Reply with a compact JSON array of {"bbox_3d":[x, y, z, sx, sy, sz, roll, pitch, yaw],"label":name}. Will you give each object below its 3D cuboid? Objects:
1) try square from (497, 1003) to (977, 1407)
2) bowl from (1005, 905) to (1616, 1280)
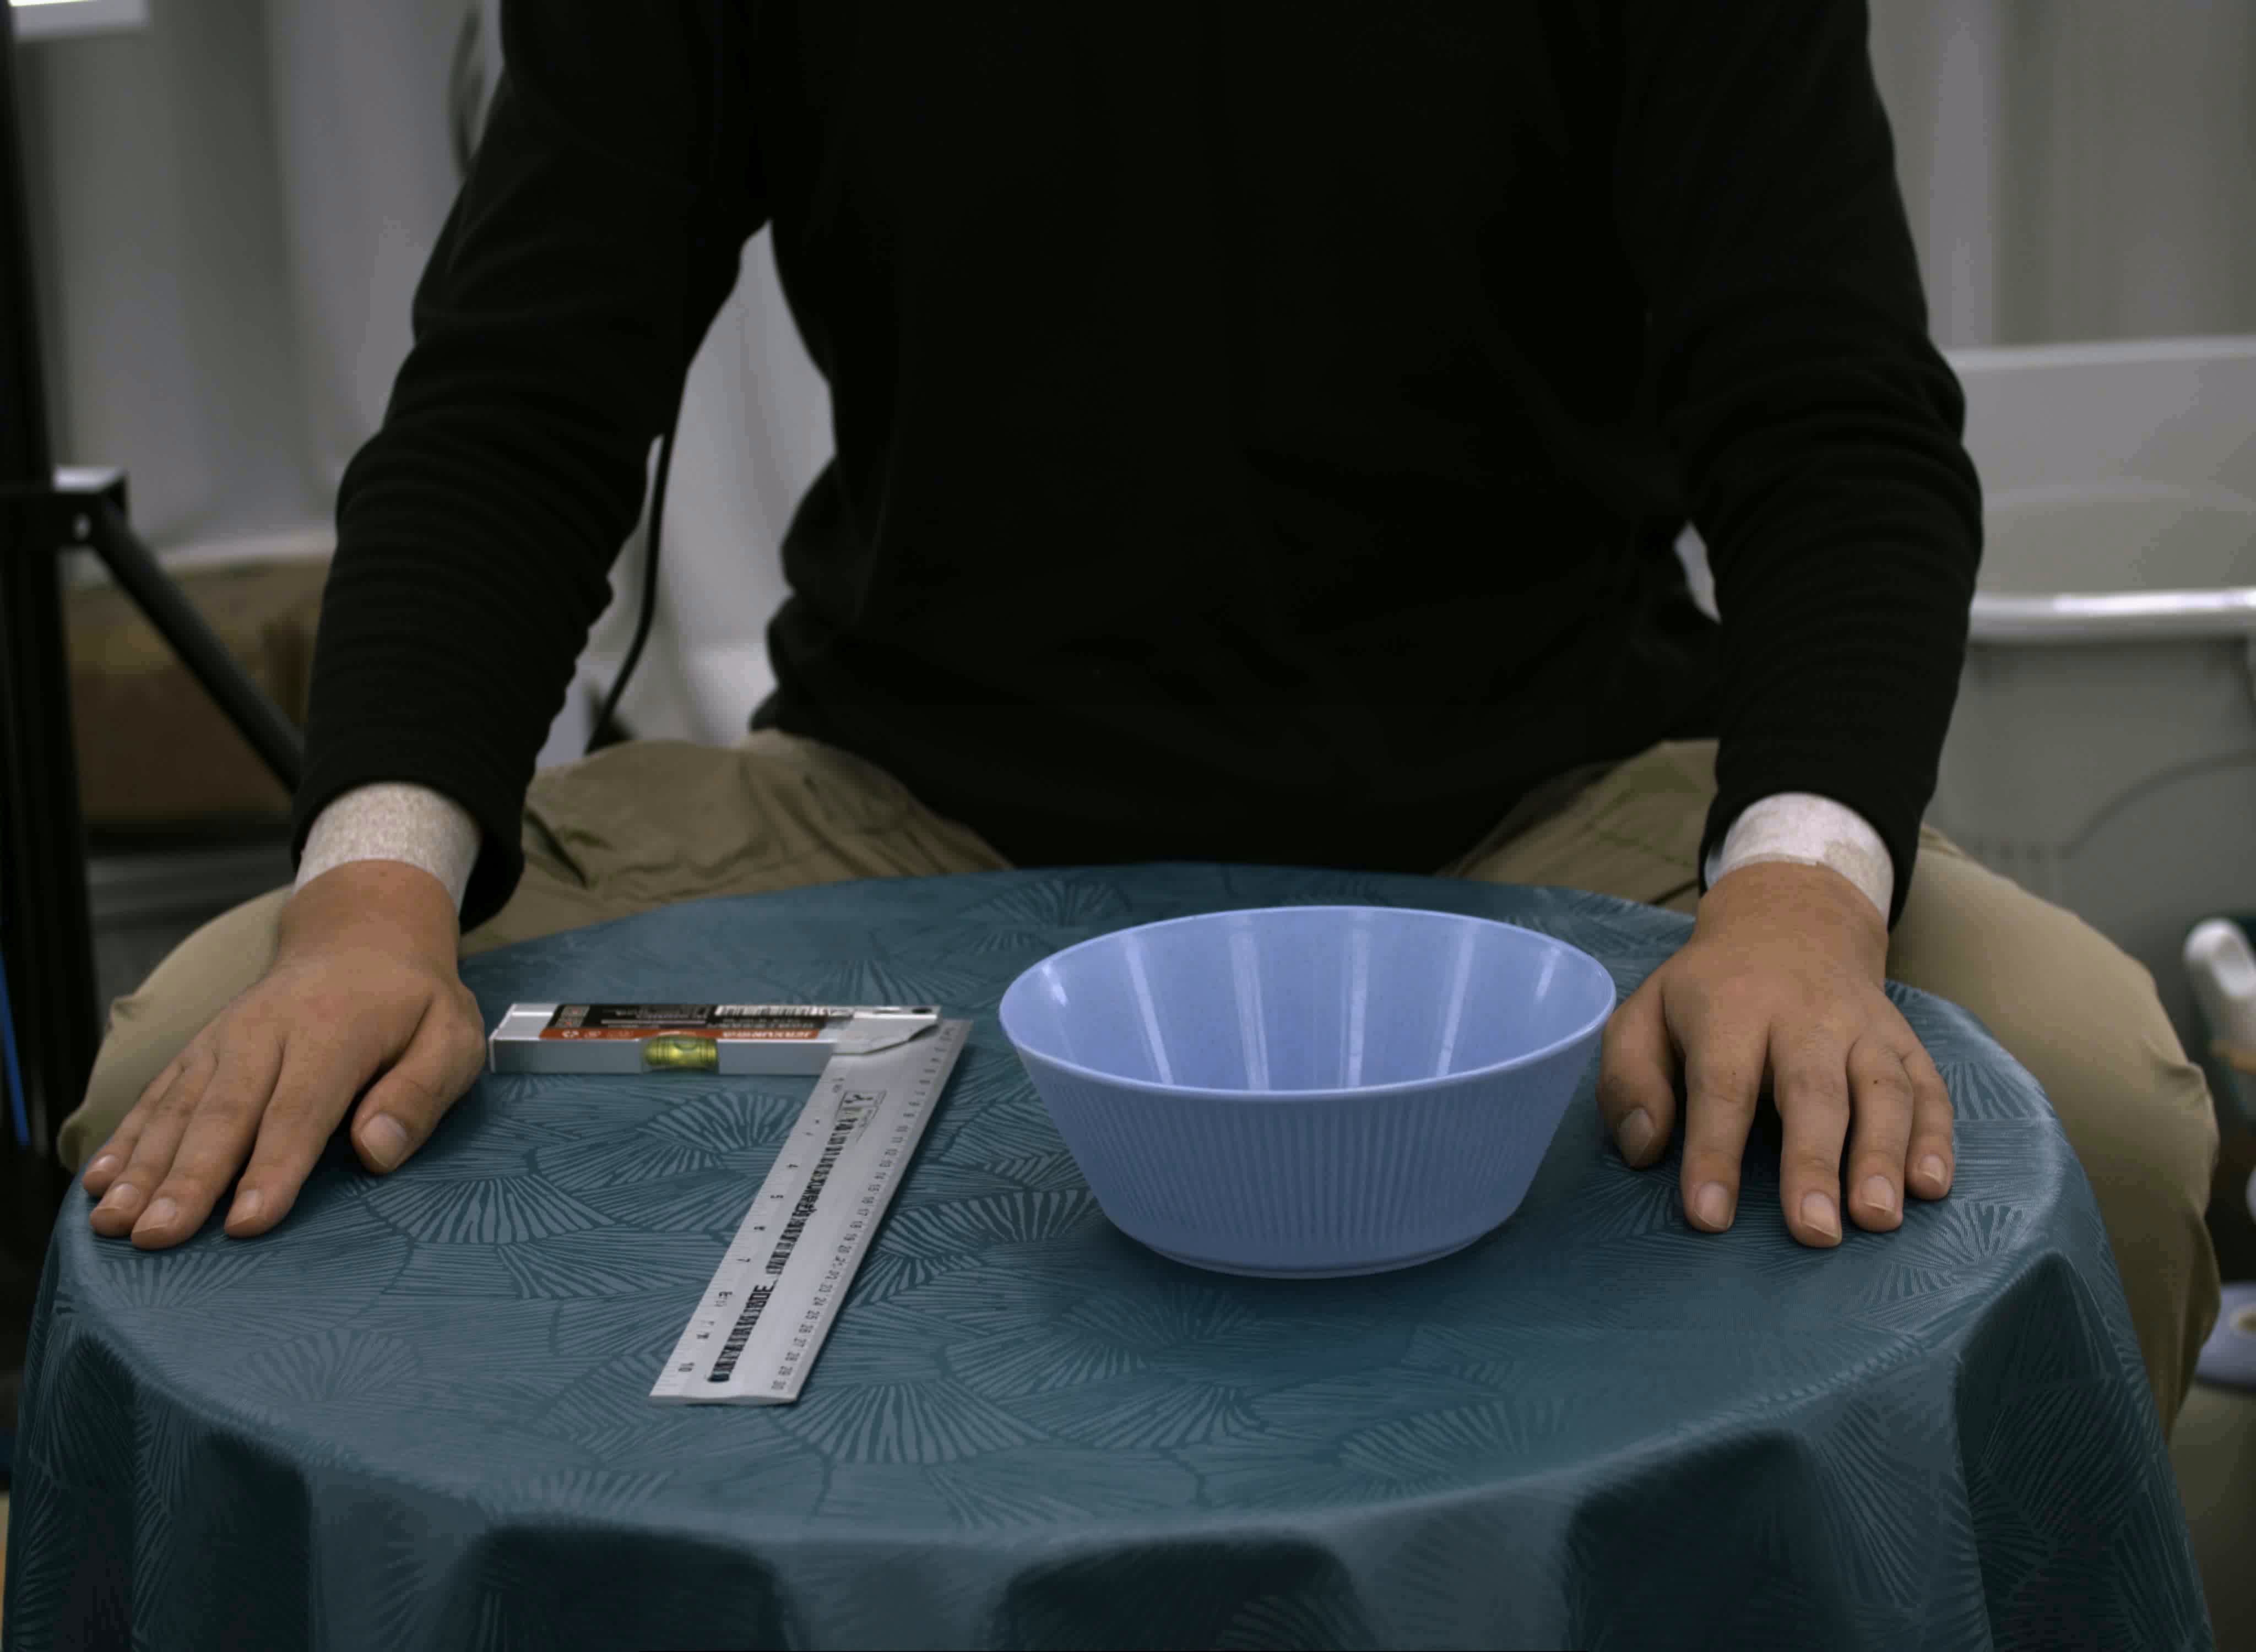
[{"bbox_3d":[-0.140,0.110,1.569,0.153,0.016,0.312,-3,17,9],"label":"try square"},{"bbox_3d":[0.053,0.079,1.523,0.175,0.070,0.177,-3,16,-1],"label":"bowl"}]
